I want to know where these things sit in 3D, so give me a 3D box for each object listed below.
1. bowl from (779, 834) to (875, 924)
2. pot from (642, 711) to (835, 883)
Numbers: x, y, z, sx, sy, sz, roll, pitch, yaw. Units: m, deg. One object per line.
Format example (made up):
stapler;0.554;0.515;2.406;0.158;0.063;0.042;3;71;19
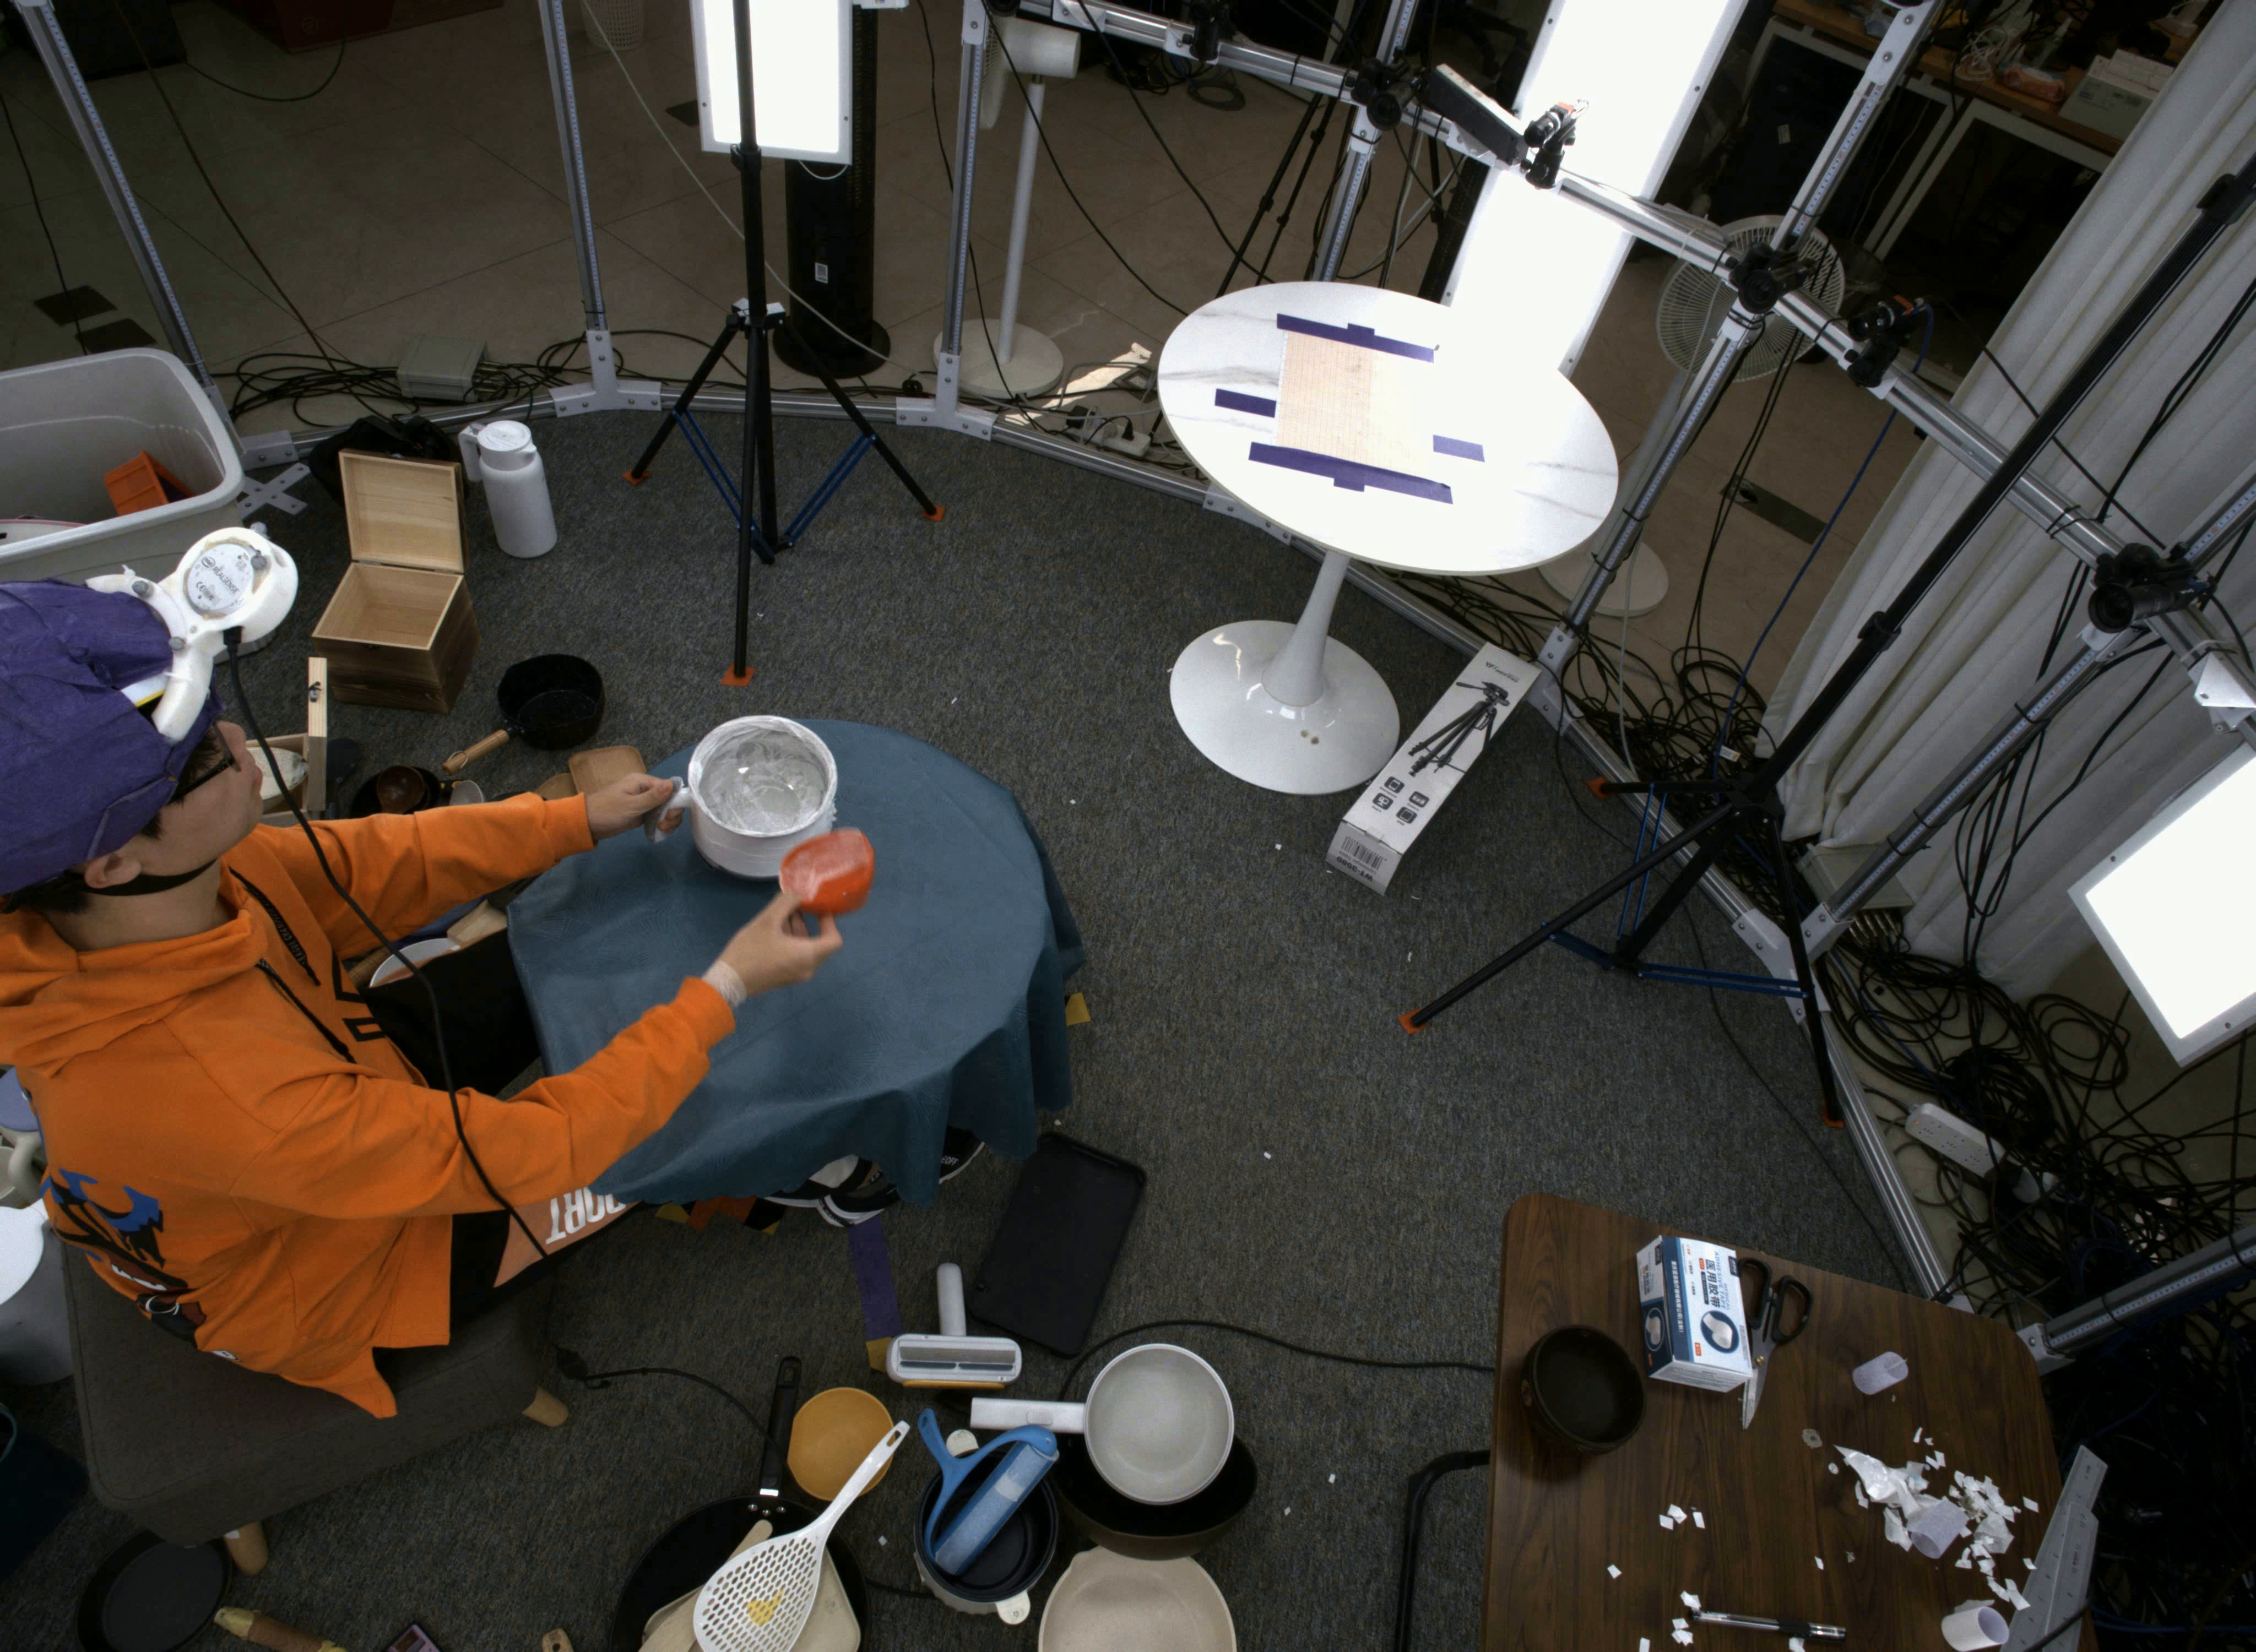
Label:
bowl;-0.334;0.066;1.466;0.117;0.053;0.116;-5;43;6
pot;-0.482;-0.028;1.594;0.235;0.138;0.175;-8;61;-23
